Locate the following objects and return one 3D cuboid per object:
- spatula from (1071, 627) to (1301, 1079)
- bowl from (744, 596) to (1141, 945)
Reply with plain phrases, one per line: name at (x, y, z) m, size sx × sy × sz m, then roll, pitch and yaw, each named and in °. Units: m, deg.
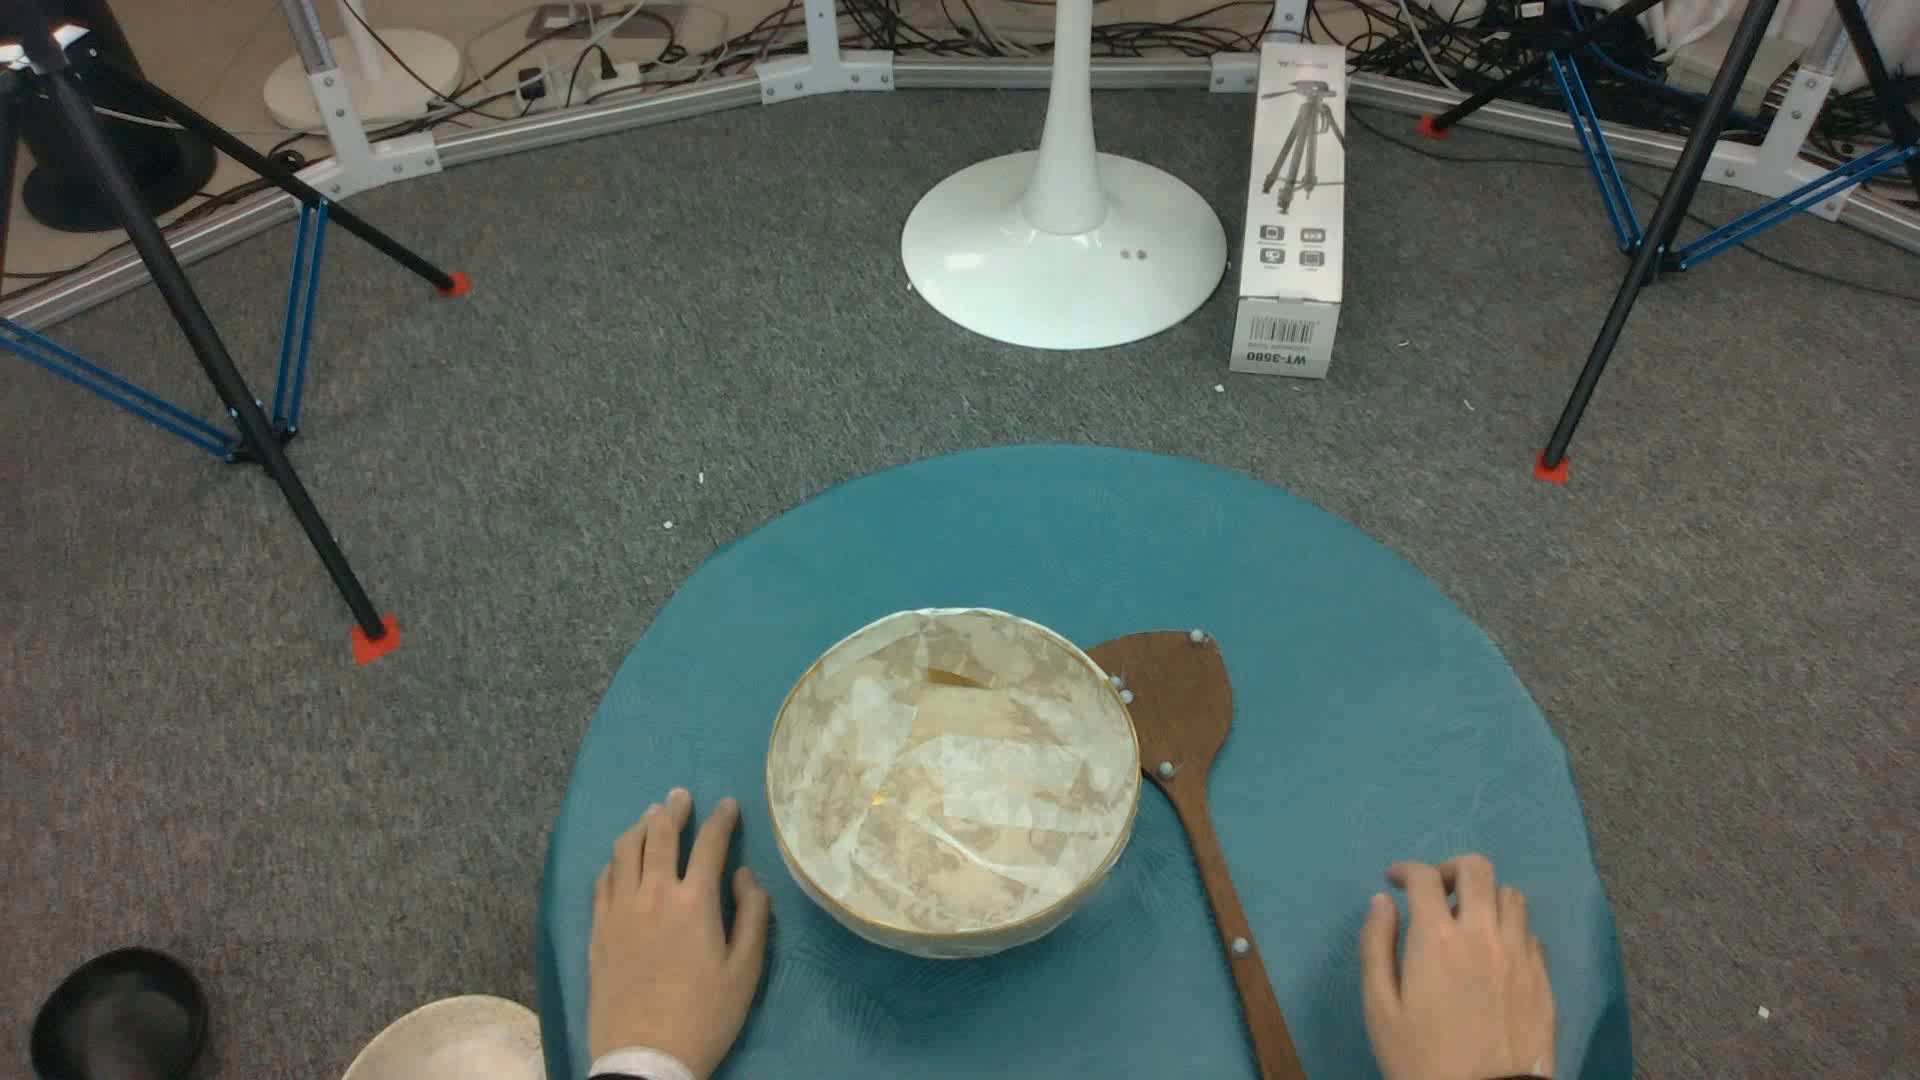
spatula at (0.143, 0.202, 0.755) m, size 0.096 × 0.016 × 0.387 m, roll -8°, pitch 49°, yaw -7°
bowl at (-0.011, 0.139, 0.756) m, size 0.215 × 0.094 × 0.215 m, roll 1°, pitch 49°, yaw -1°
